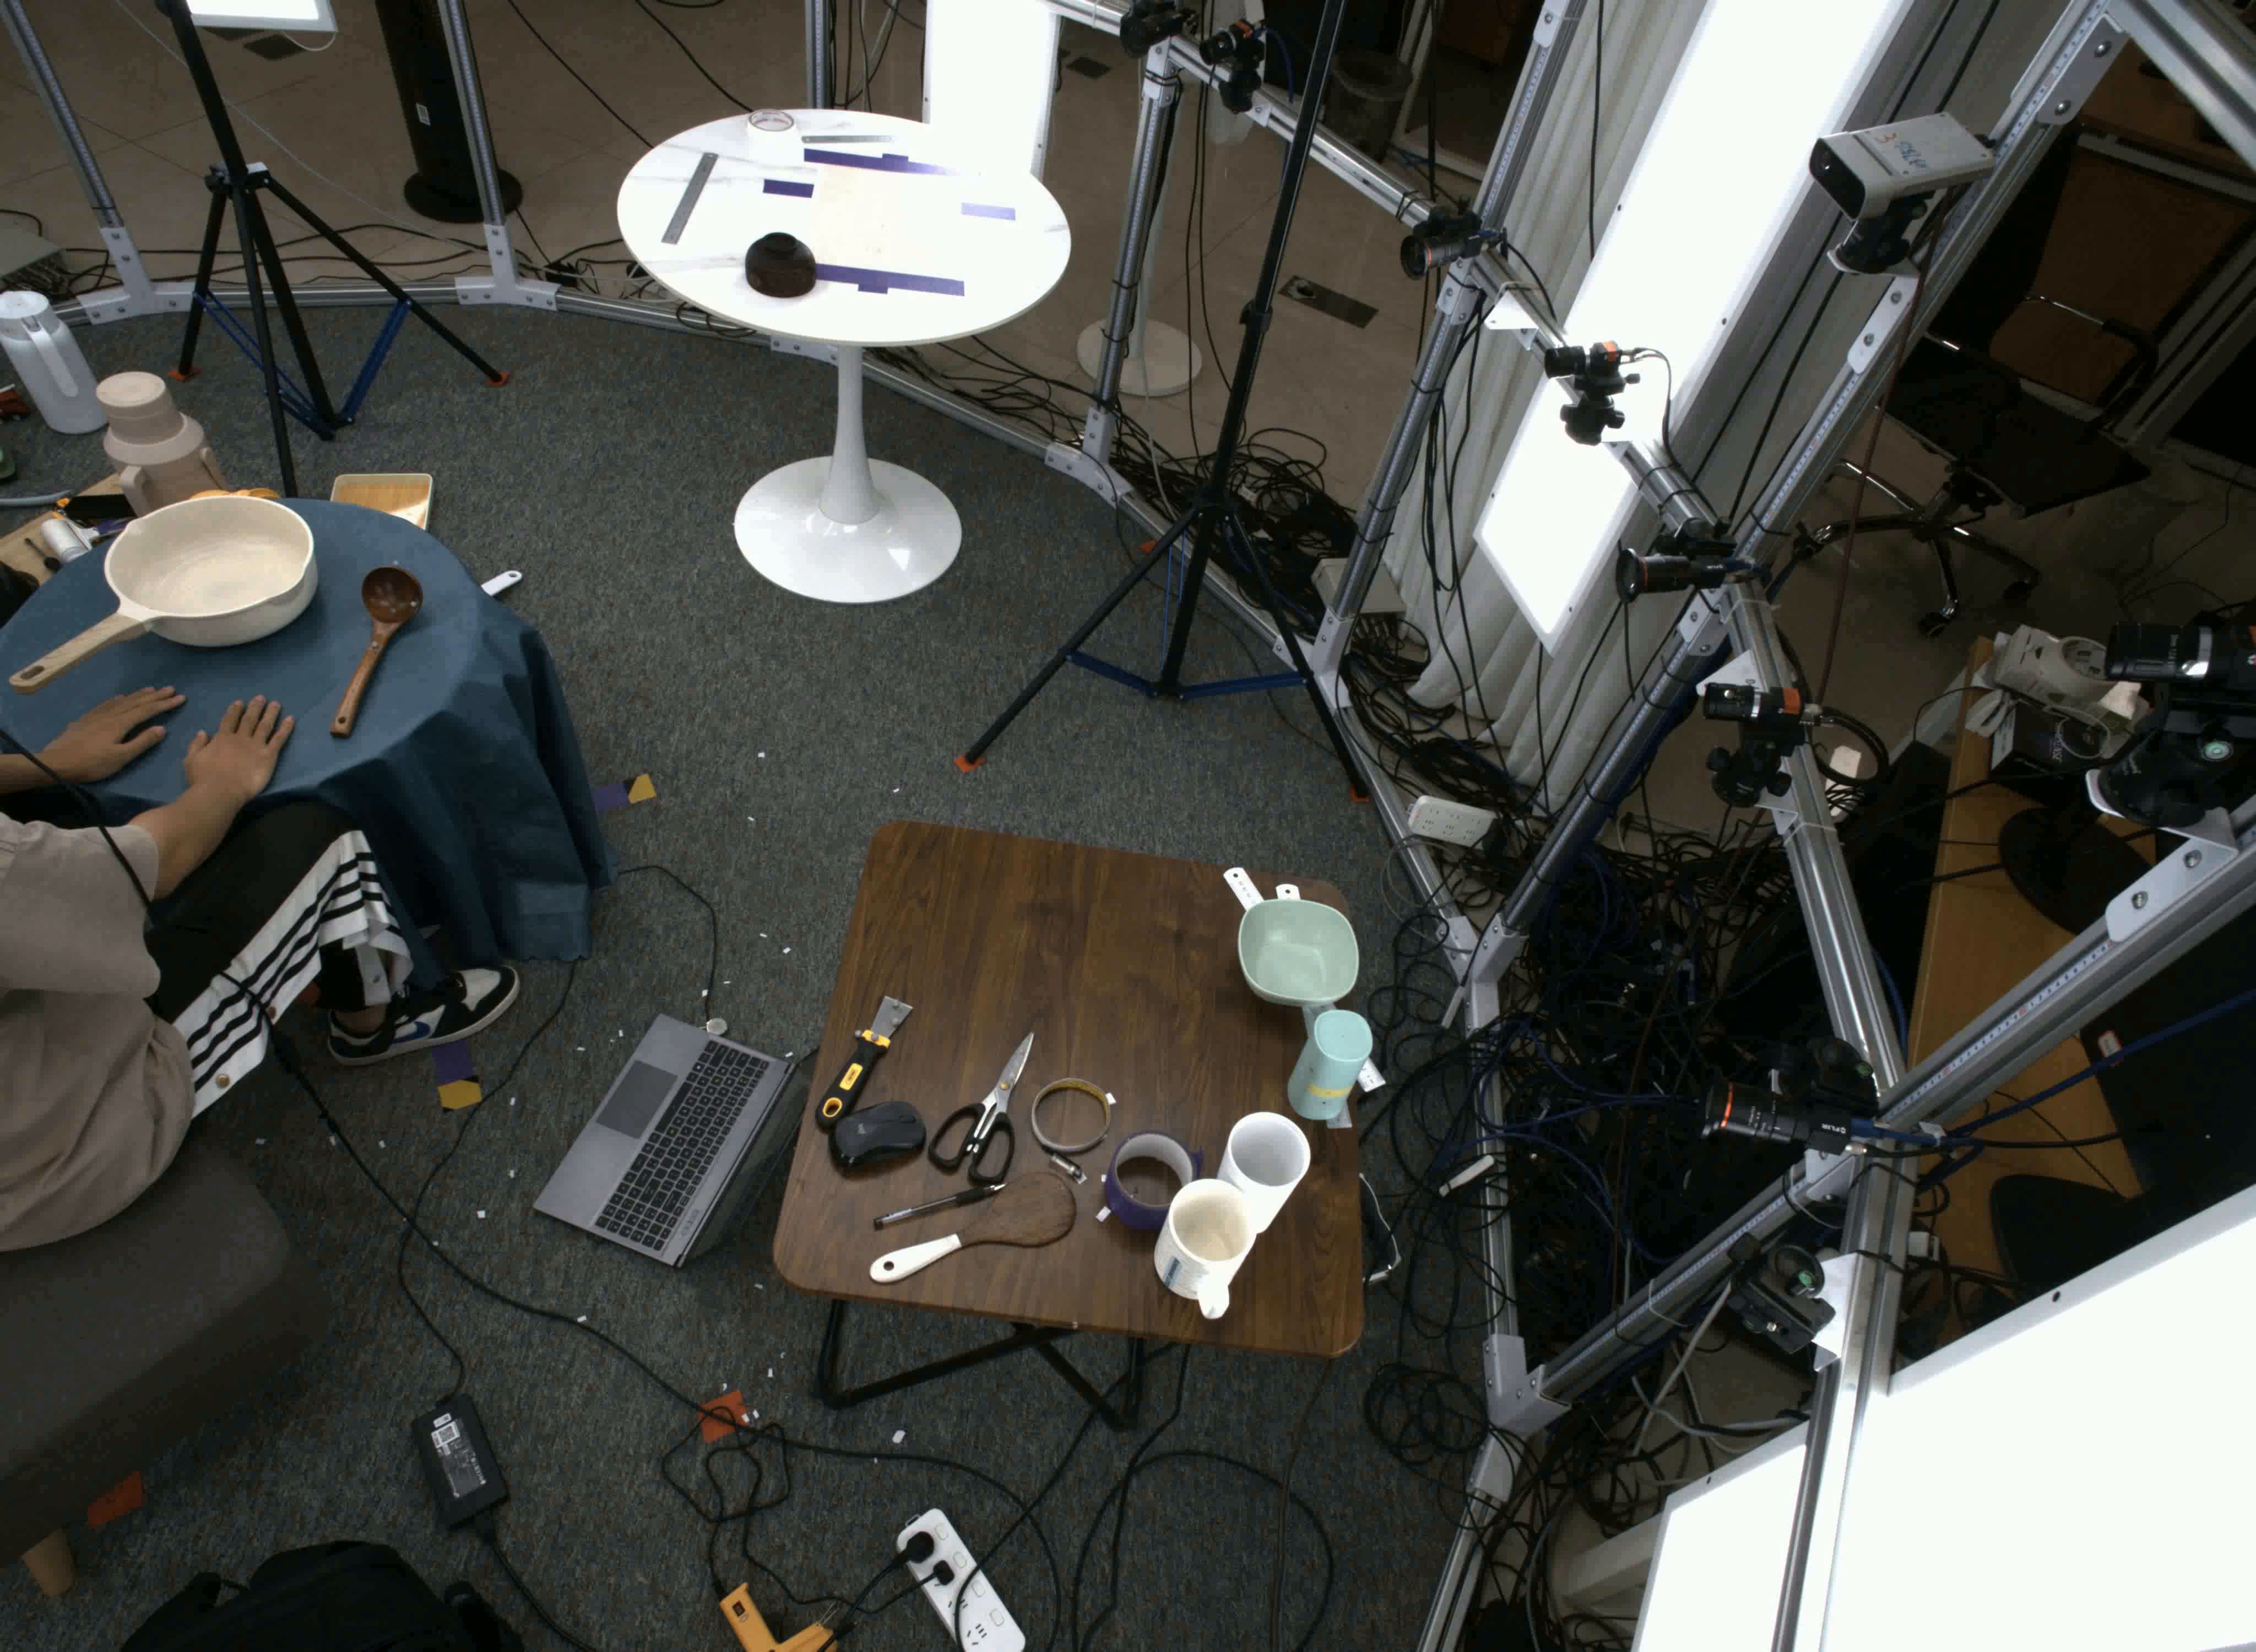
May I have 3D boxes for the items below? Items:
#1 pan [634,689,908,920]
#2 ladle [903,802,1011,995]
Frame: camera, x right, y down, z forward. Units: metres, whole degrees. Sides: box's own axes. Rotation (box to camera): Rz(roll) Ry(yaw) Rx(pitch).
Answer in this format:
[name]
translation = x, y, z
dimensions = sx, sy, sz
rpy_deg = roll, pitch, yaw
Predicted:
[pan]
translation = -0.468, -0.008, 1.667
dimensions = 0.259, 0.104, 0.434
rpy_deg = 33, 54, 11
[ladle]
translation = -0.224, 0.085, 1.668
dimensions = 0.081, 0.078, 0.271
rpy_deg = 19, 52, 2
